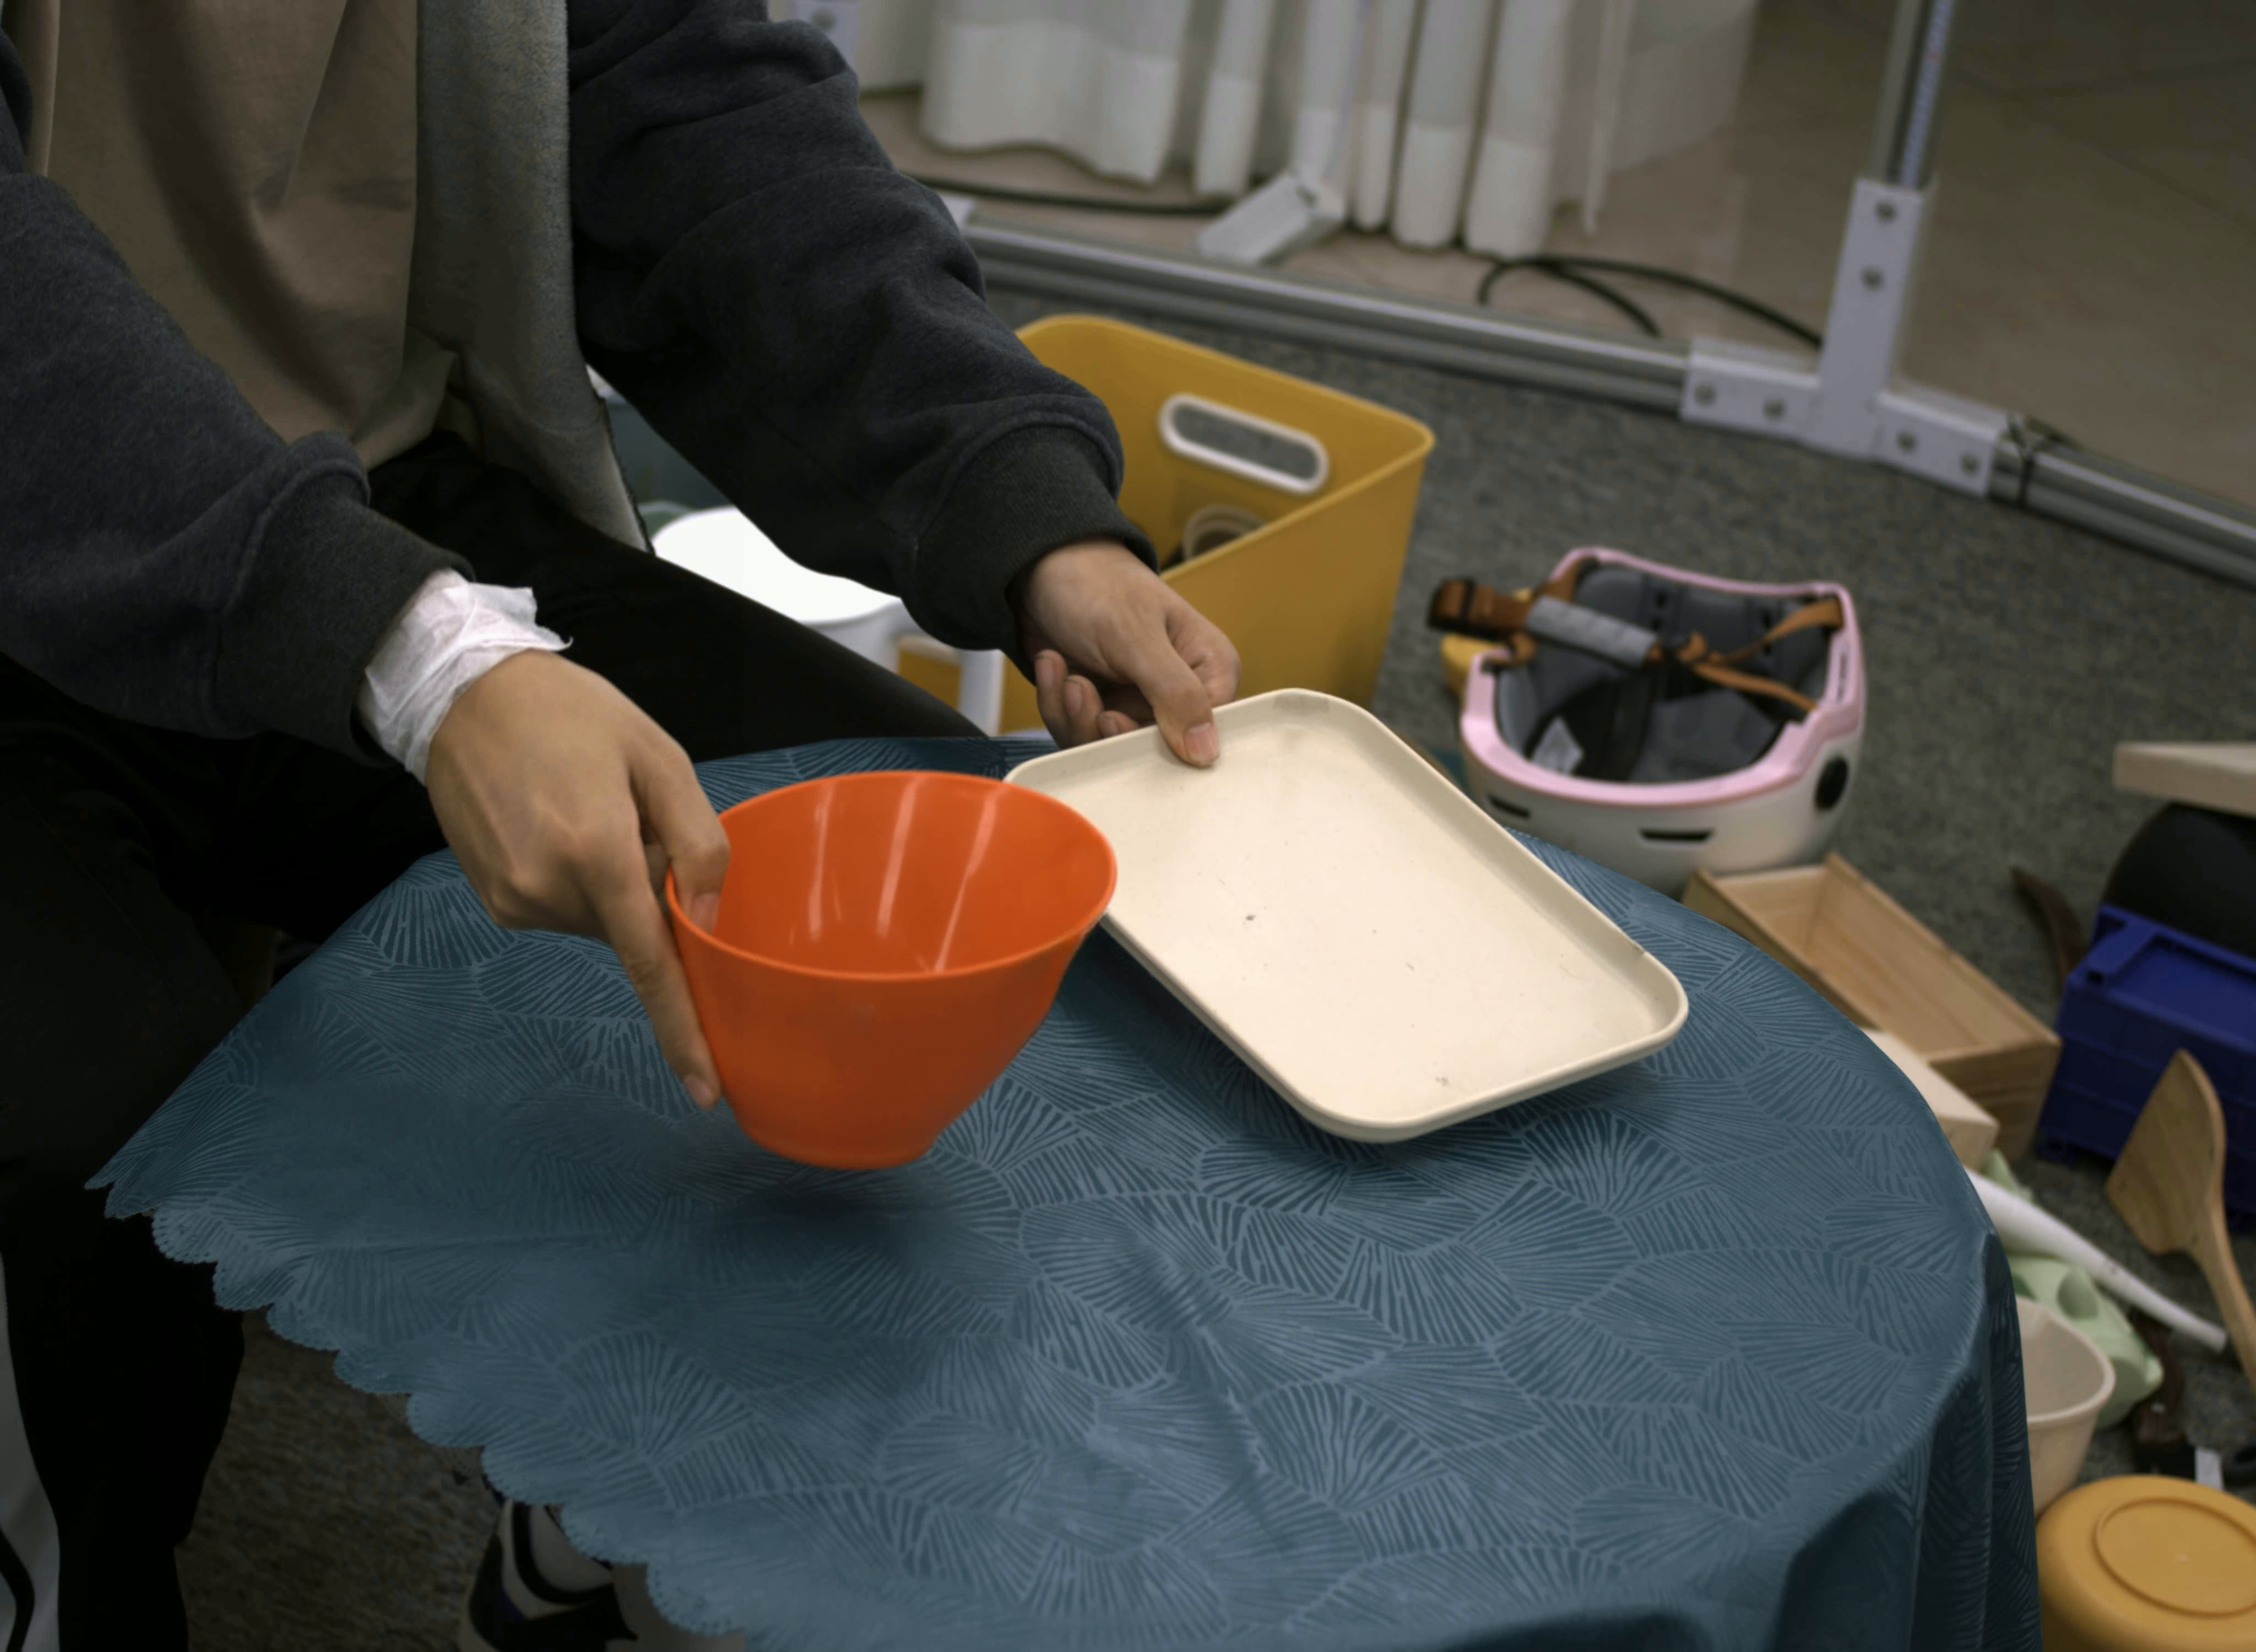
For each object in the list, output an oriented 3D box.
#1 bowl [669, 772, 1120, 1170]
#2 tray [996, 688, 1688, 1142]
[{"bbox_3d":[-0.081,0.052,1.763,0.147,0.104,0.149,7,21,-3],"label":"bowl"},{"bbox_3d":[0.075,0.030,1.928,0.170,0.017,0.242,-17,41,-32],"label":"tray"}]
